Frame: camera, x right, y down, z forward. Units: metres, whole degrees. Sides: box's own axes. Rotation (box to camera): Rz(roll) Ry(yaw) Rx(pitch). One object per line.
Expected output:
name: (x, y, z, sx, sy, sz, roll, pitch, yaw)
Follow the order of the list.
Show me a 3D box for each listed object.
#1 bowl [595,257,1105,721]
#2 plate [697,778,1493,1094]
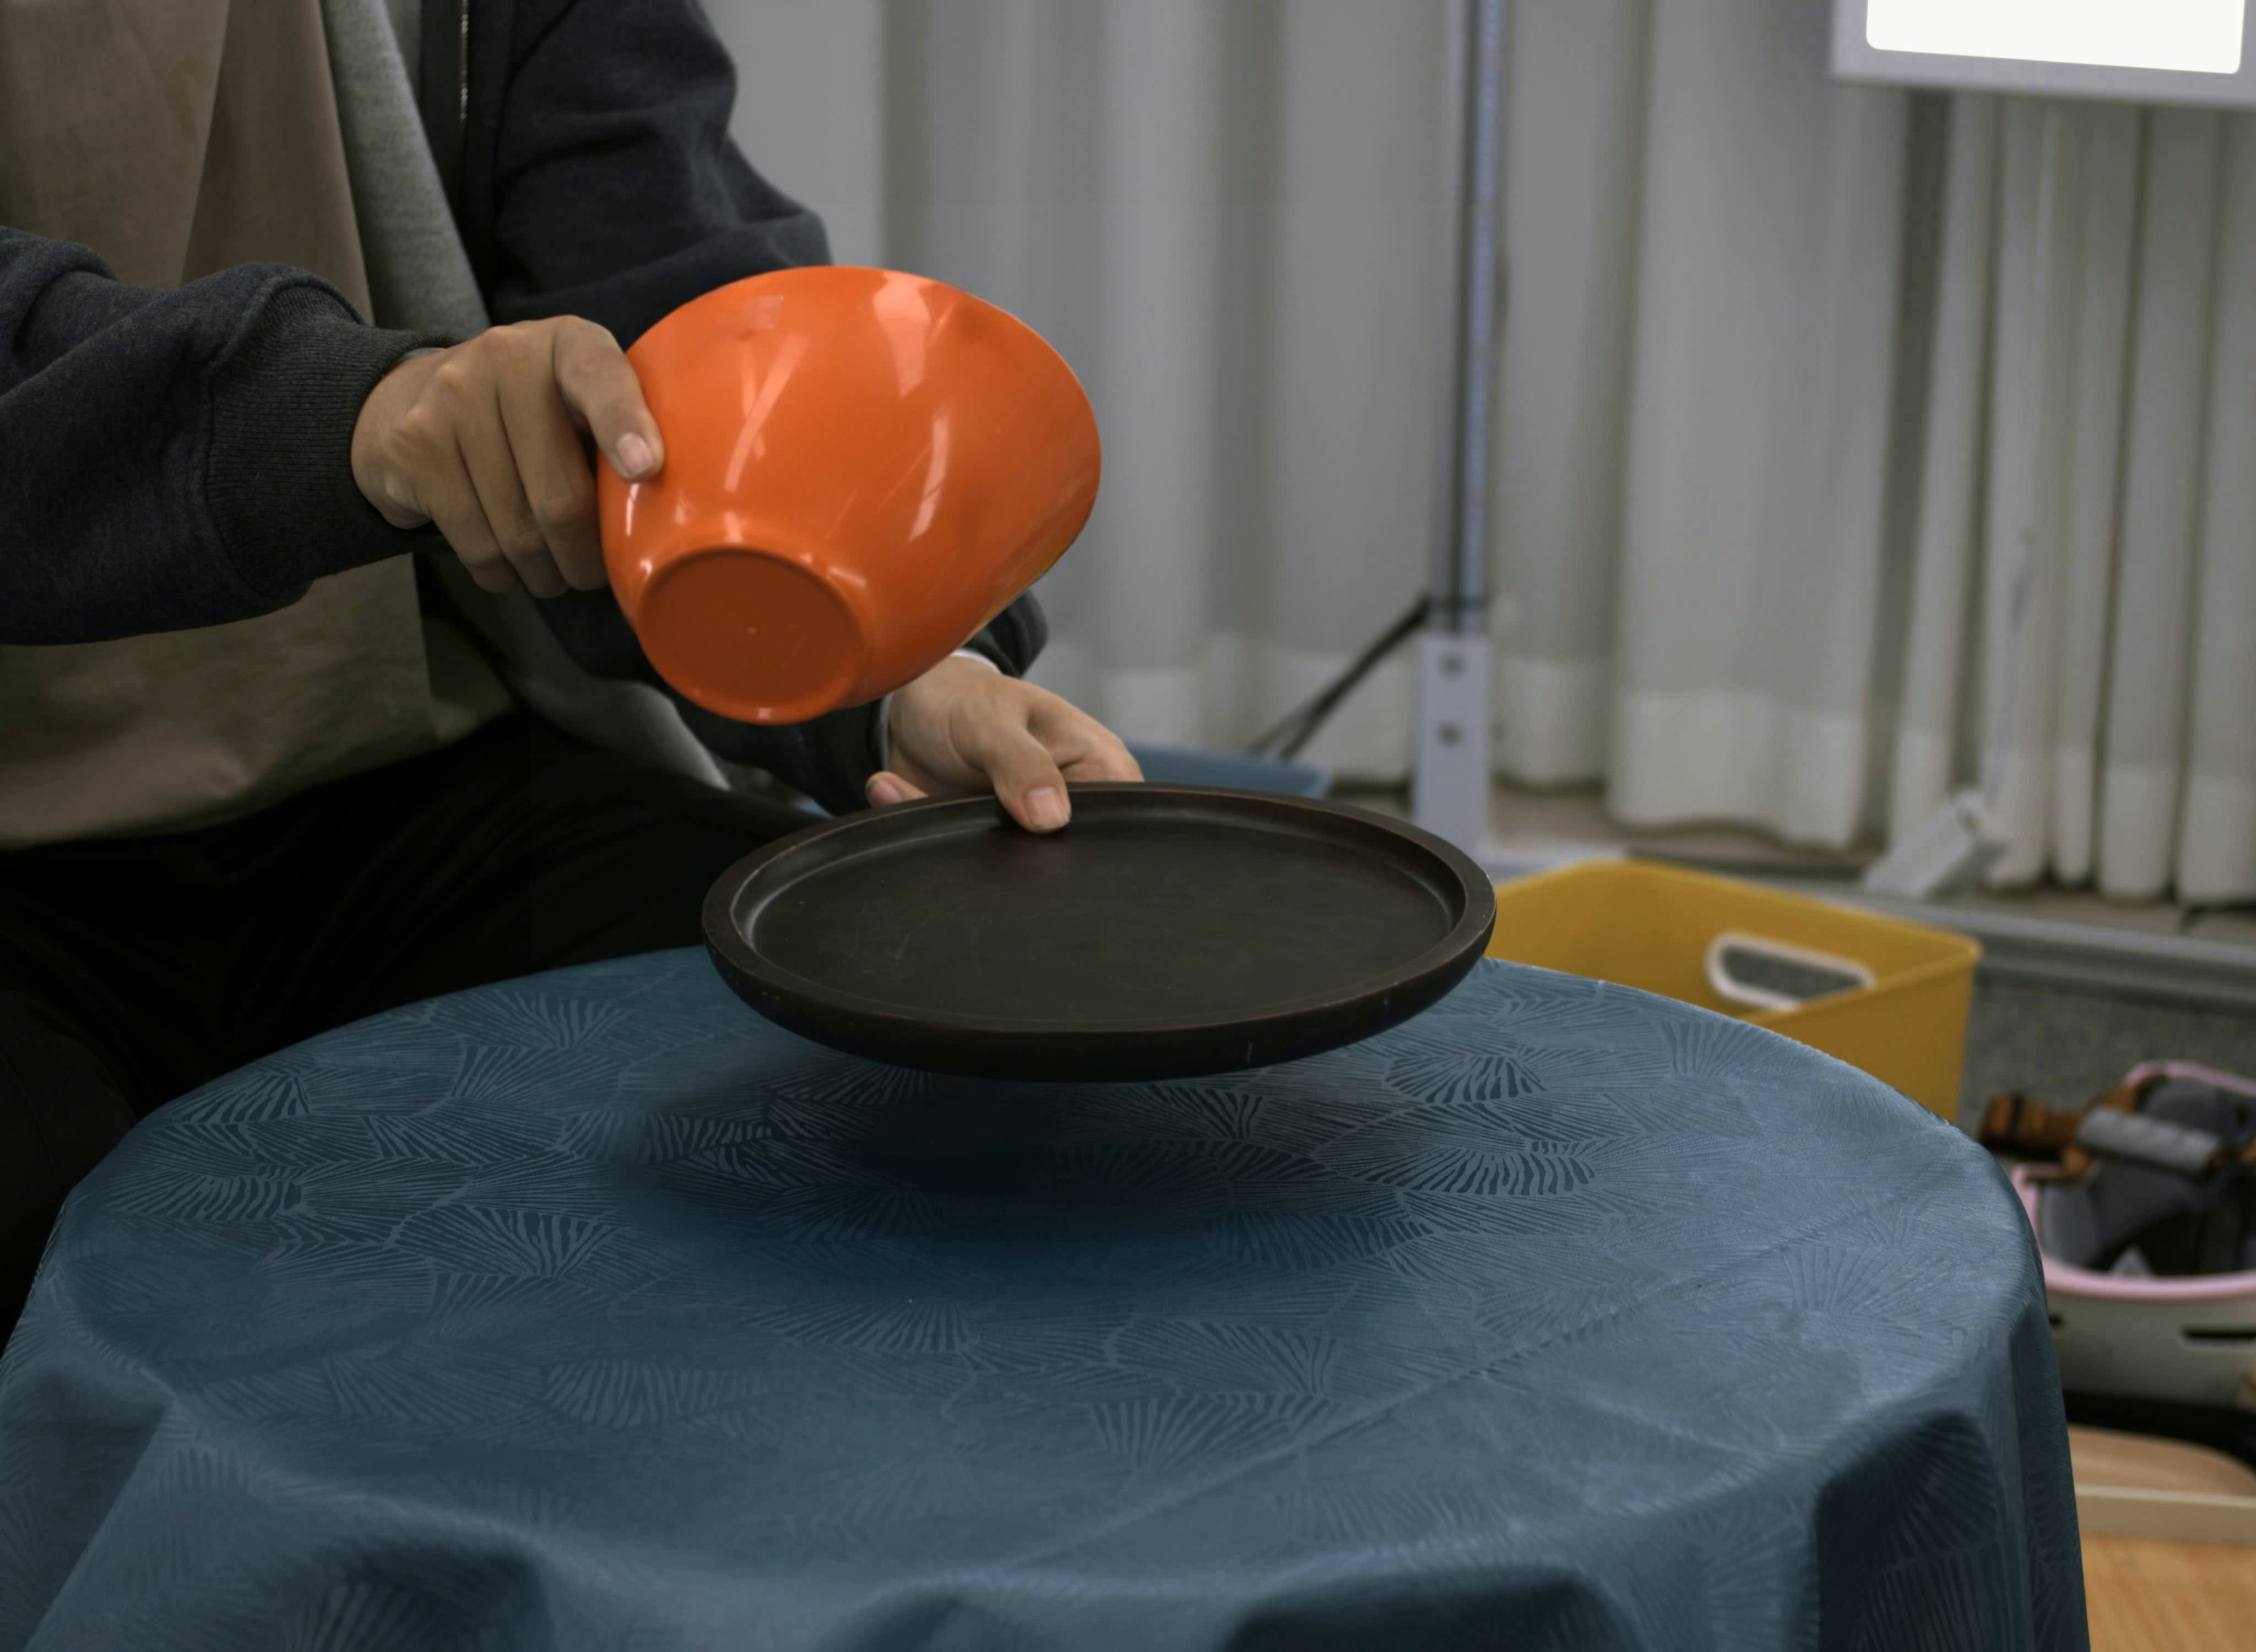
bowl: (-0.088, -0.083, 1.508, 0.147, 0.150, 0.104, 4, 44, 11)
plate: (-0.010, 0.033, 1.671, 0.254, 0.029, 0.253, -1, 18, 1)
